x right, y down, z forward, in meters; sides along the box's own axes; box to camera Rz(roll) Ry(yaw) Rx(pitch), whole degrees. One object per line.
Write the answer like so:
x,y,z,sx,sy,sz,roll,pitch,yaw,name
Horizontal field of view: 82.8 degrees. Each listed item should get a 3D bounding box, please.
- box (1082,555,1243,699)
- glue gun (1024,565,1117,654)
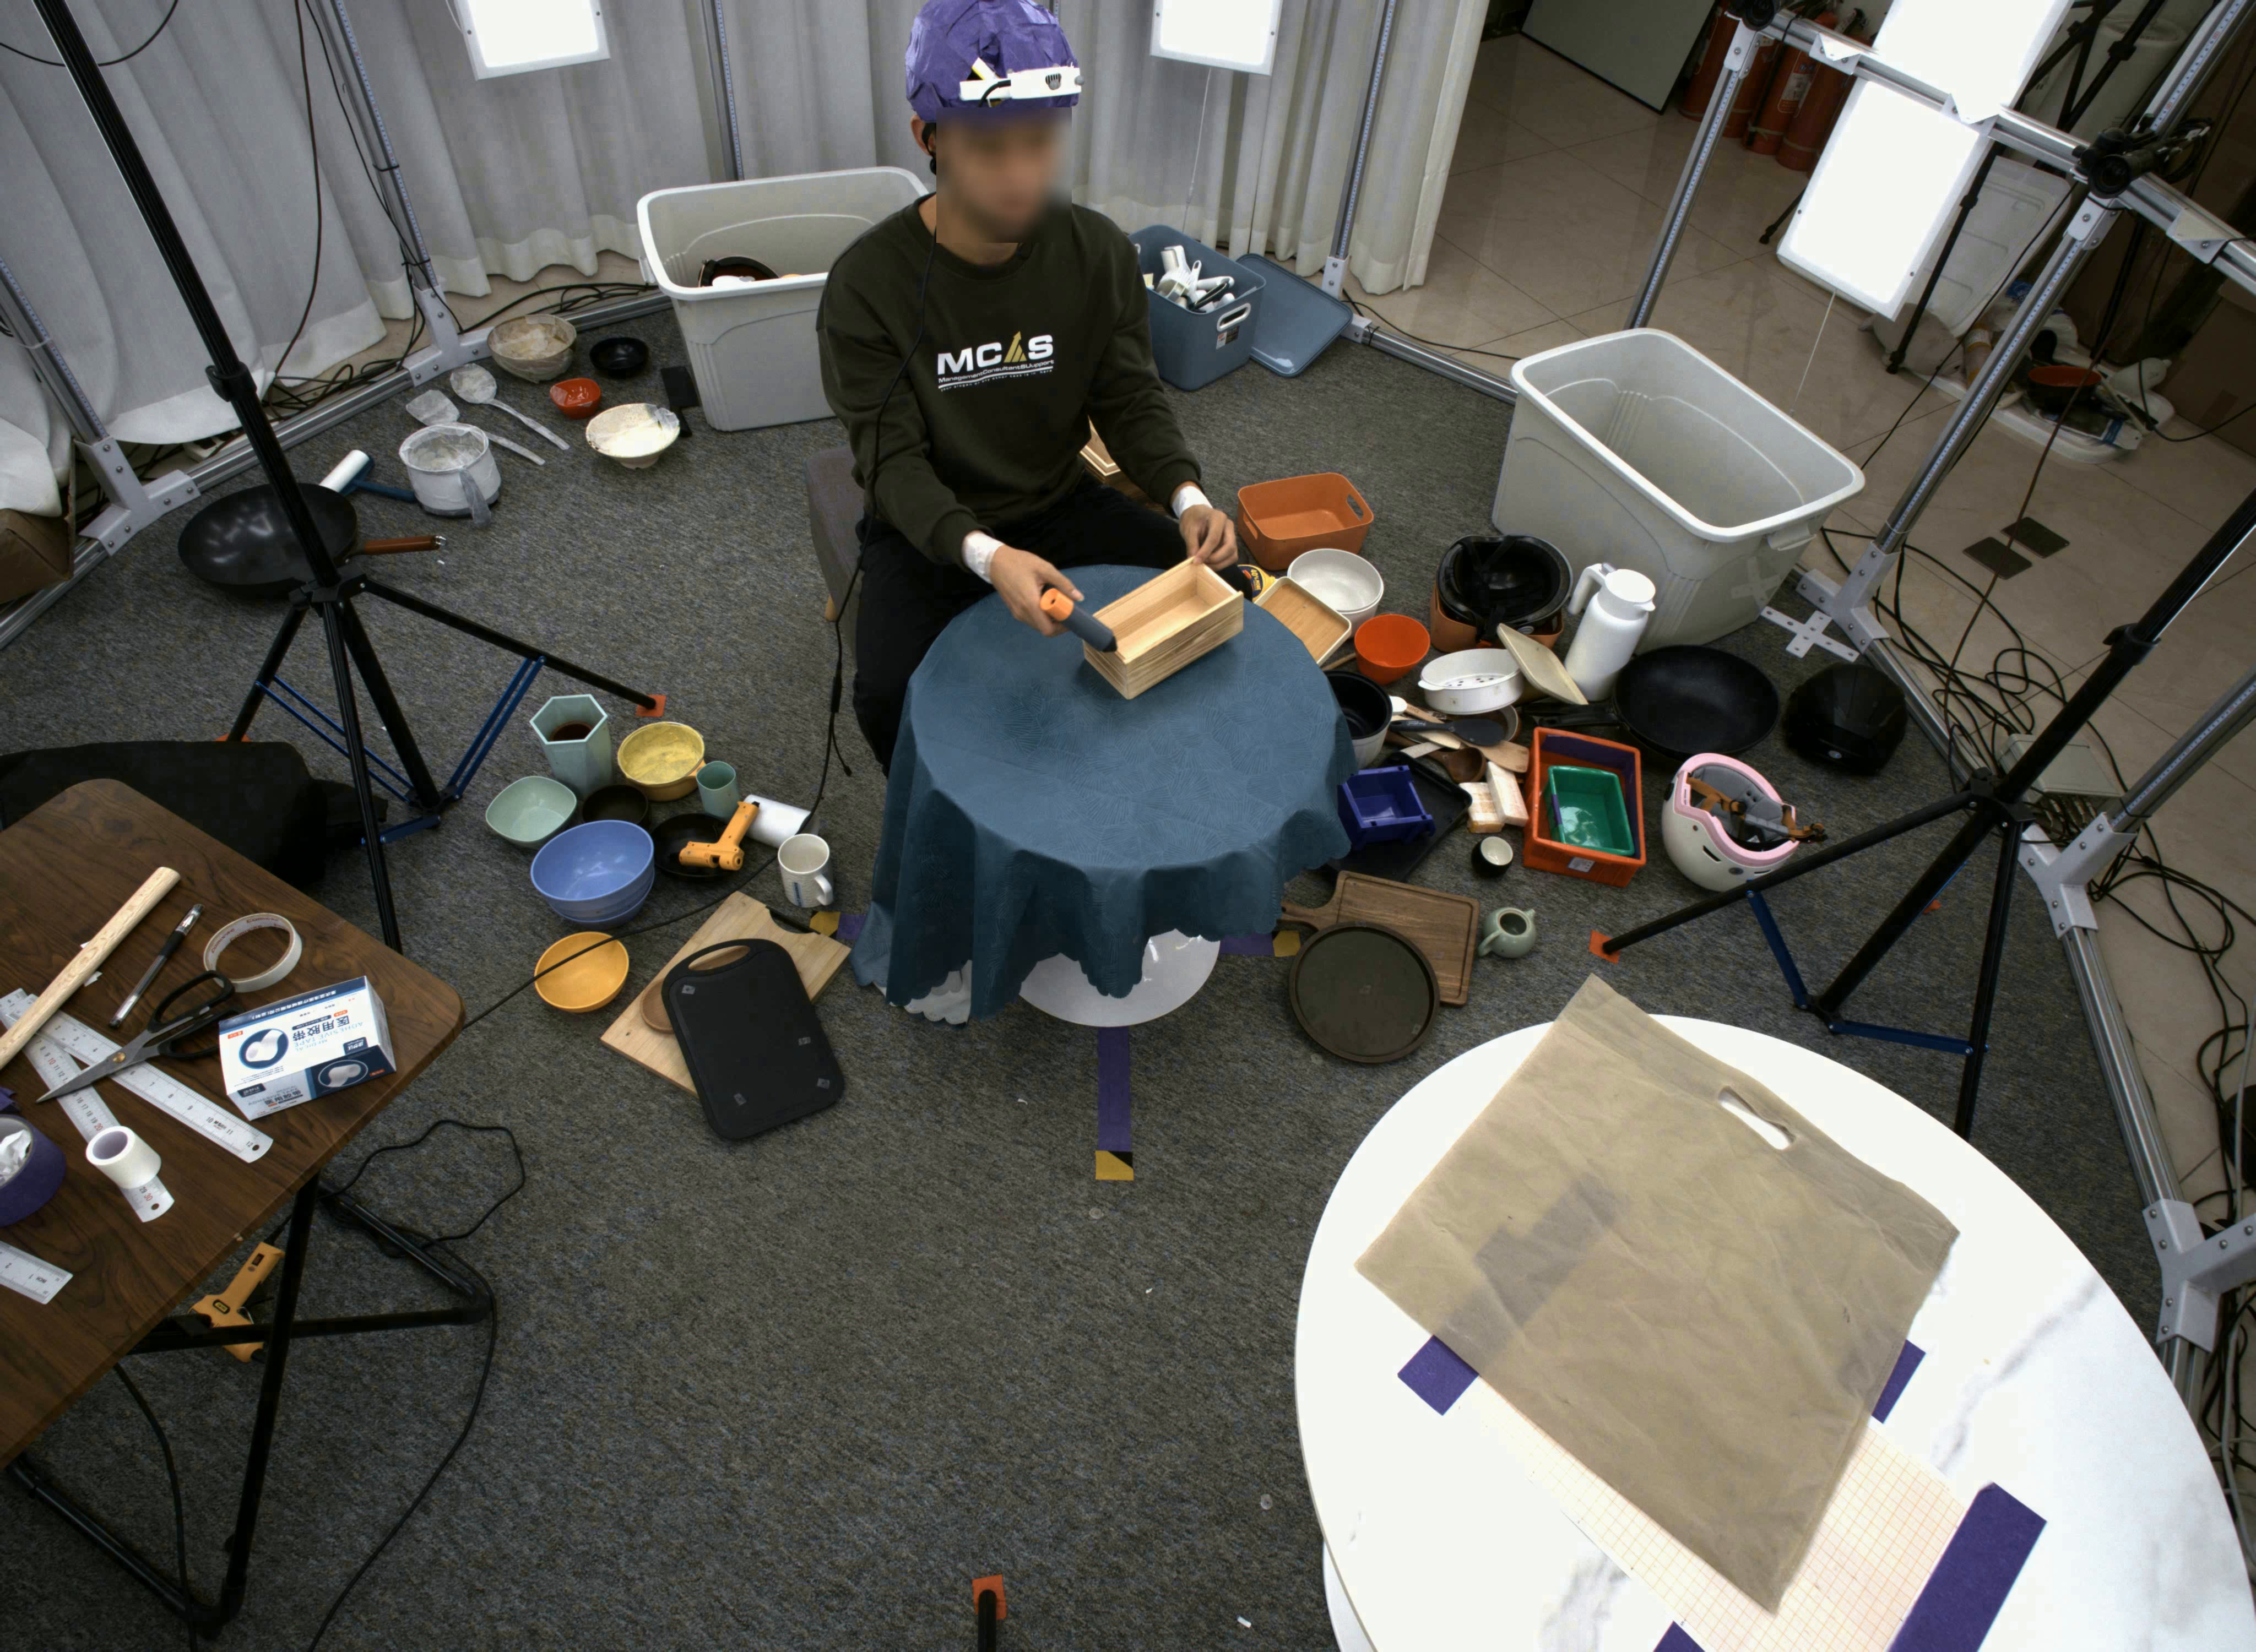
0.050,-0.288,1.844,0.212,0.078,0.109,-33,58,-19,box
-0.078,-0.293,1.740,0.041,0.116,0.143,-47,45,6,glue gun
